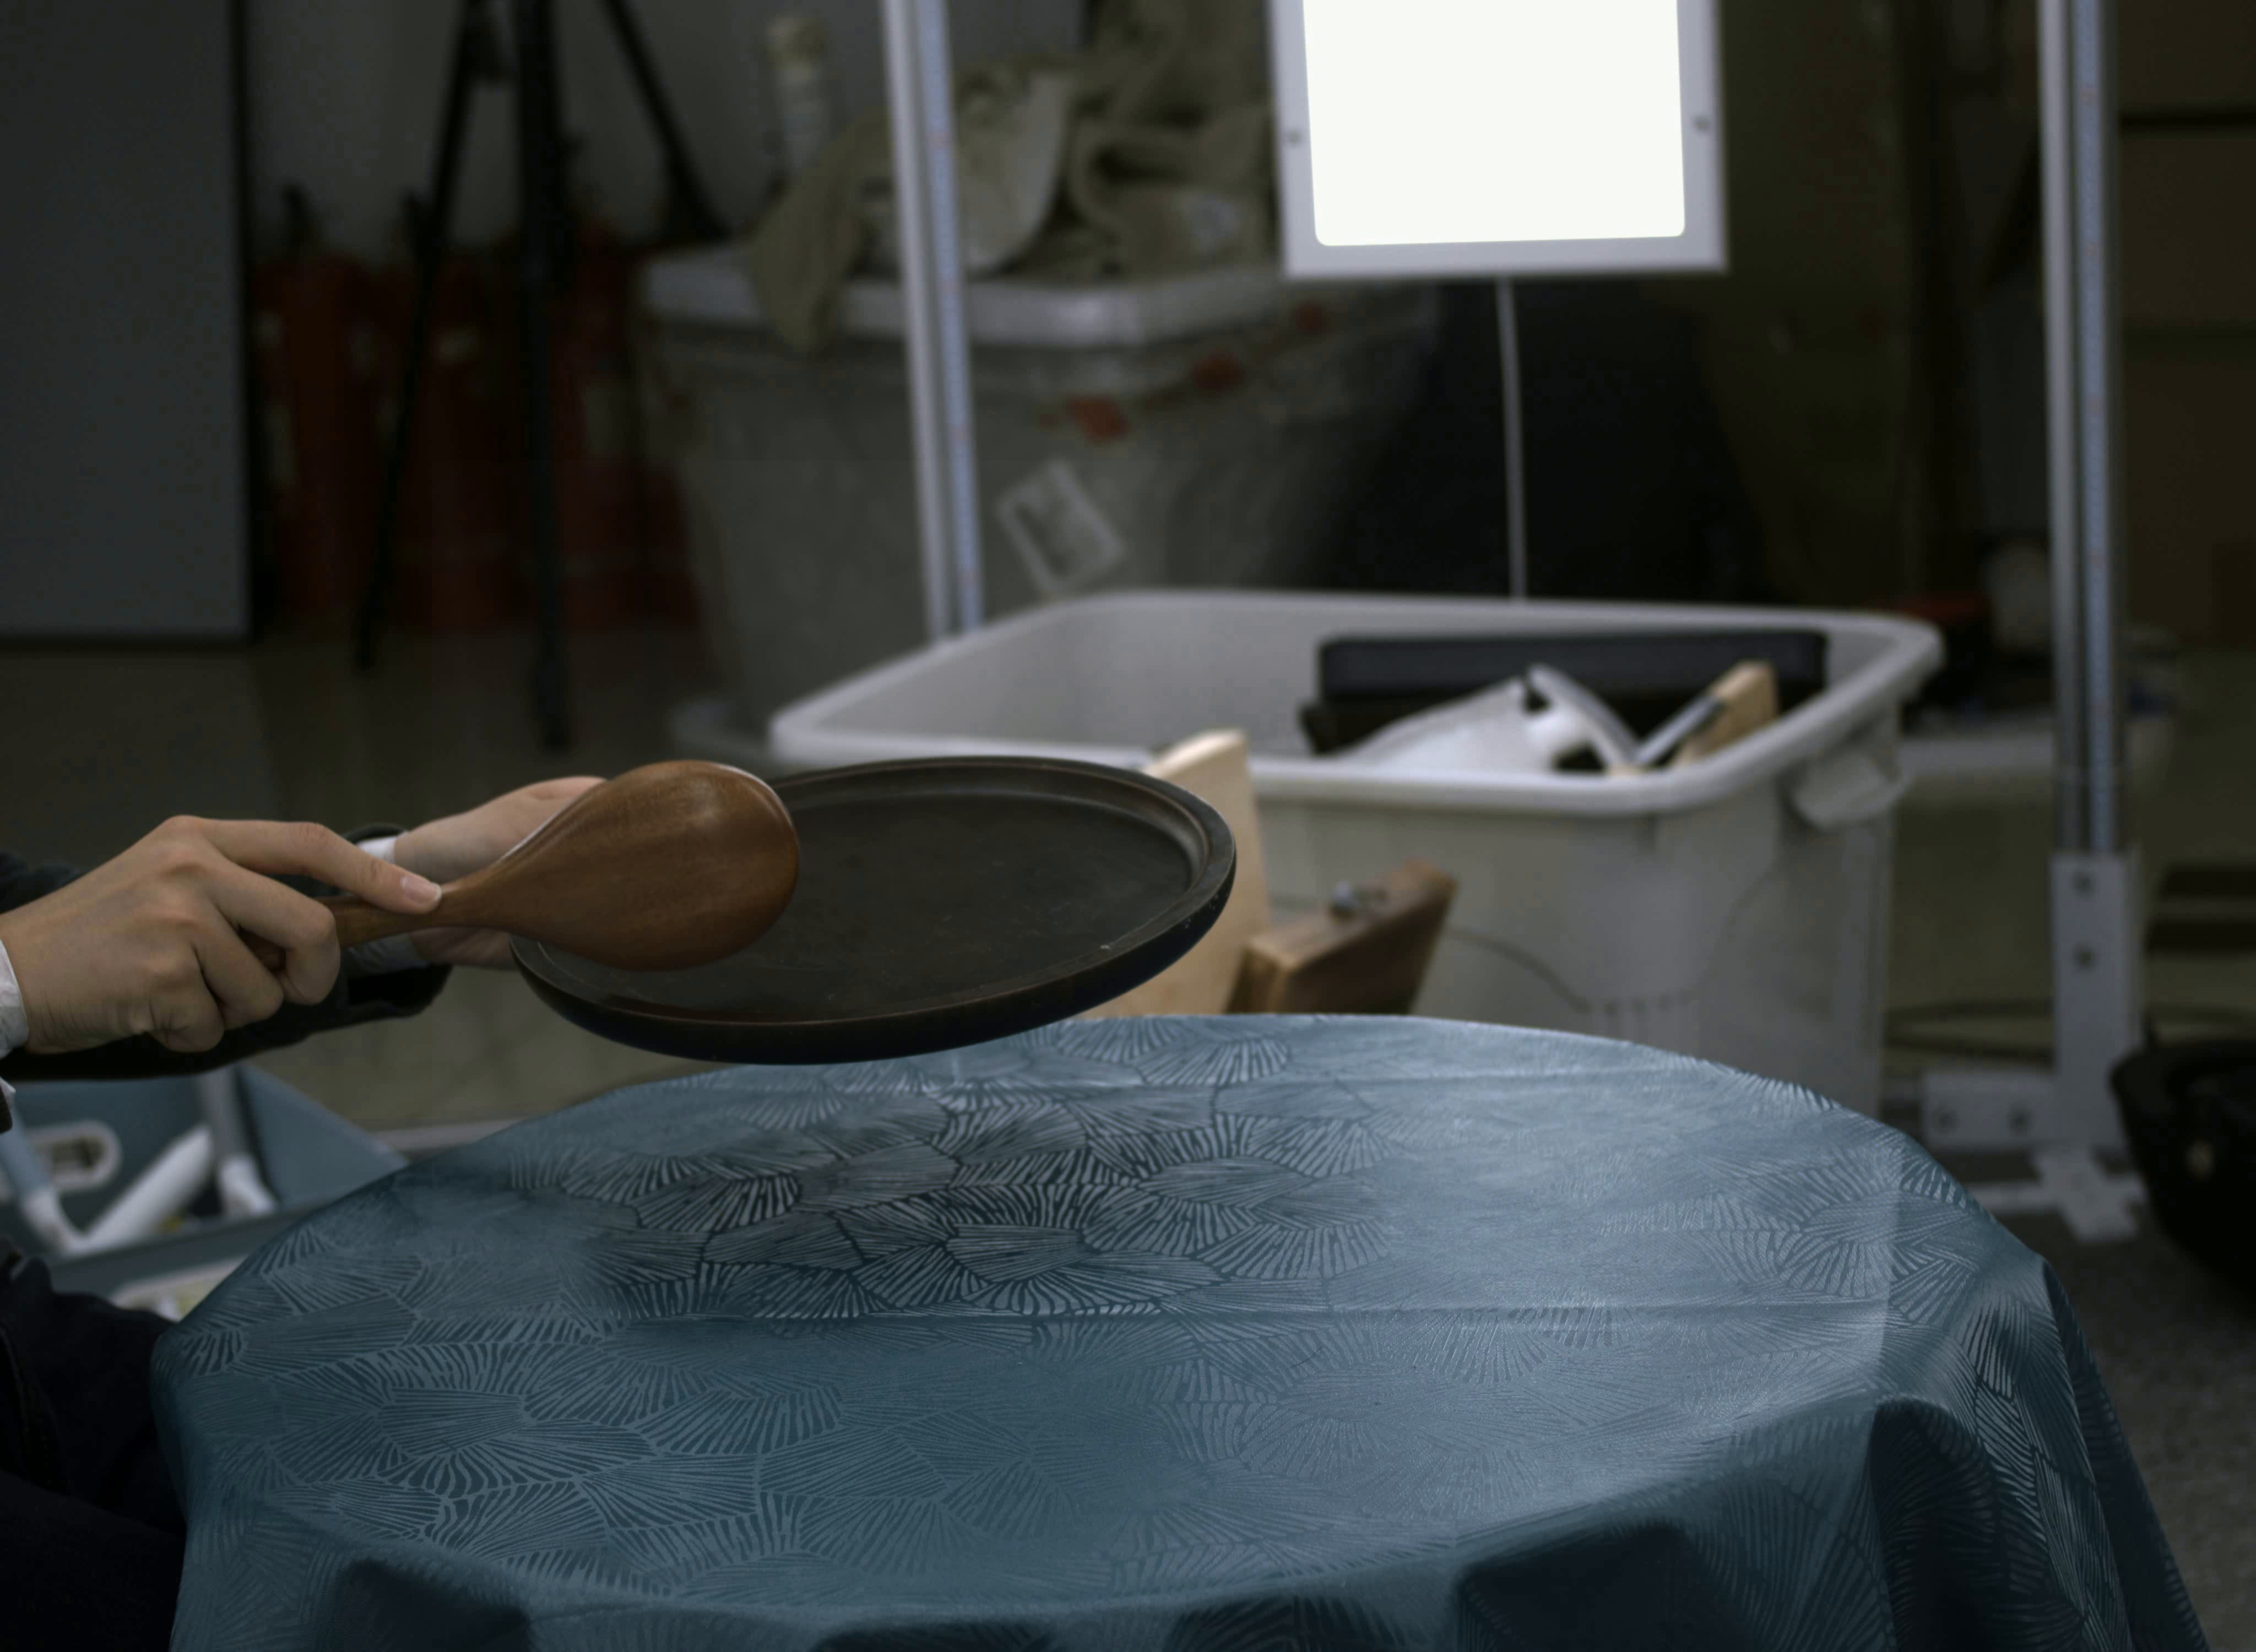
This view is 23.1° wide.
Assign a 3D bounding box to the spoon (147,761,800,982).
[{"bbox_3d":[-0.213,0.024,1.809,0.214,0.076,0.017,-8,26,-6],"label":"spoon"}]

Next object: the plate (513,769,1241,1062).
[{"bbox_3d":[-0.086,0.028,1.899,0.254,0.029,0.254,-6,19,1],"label":"plate"}]
